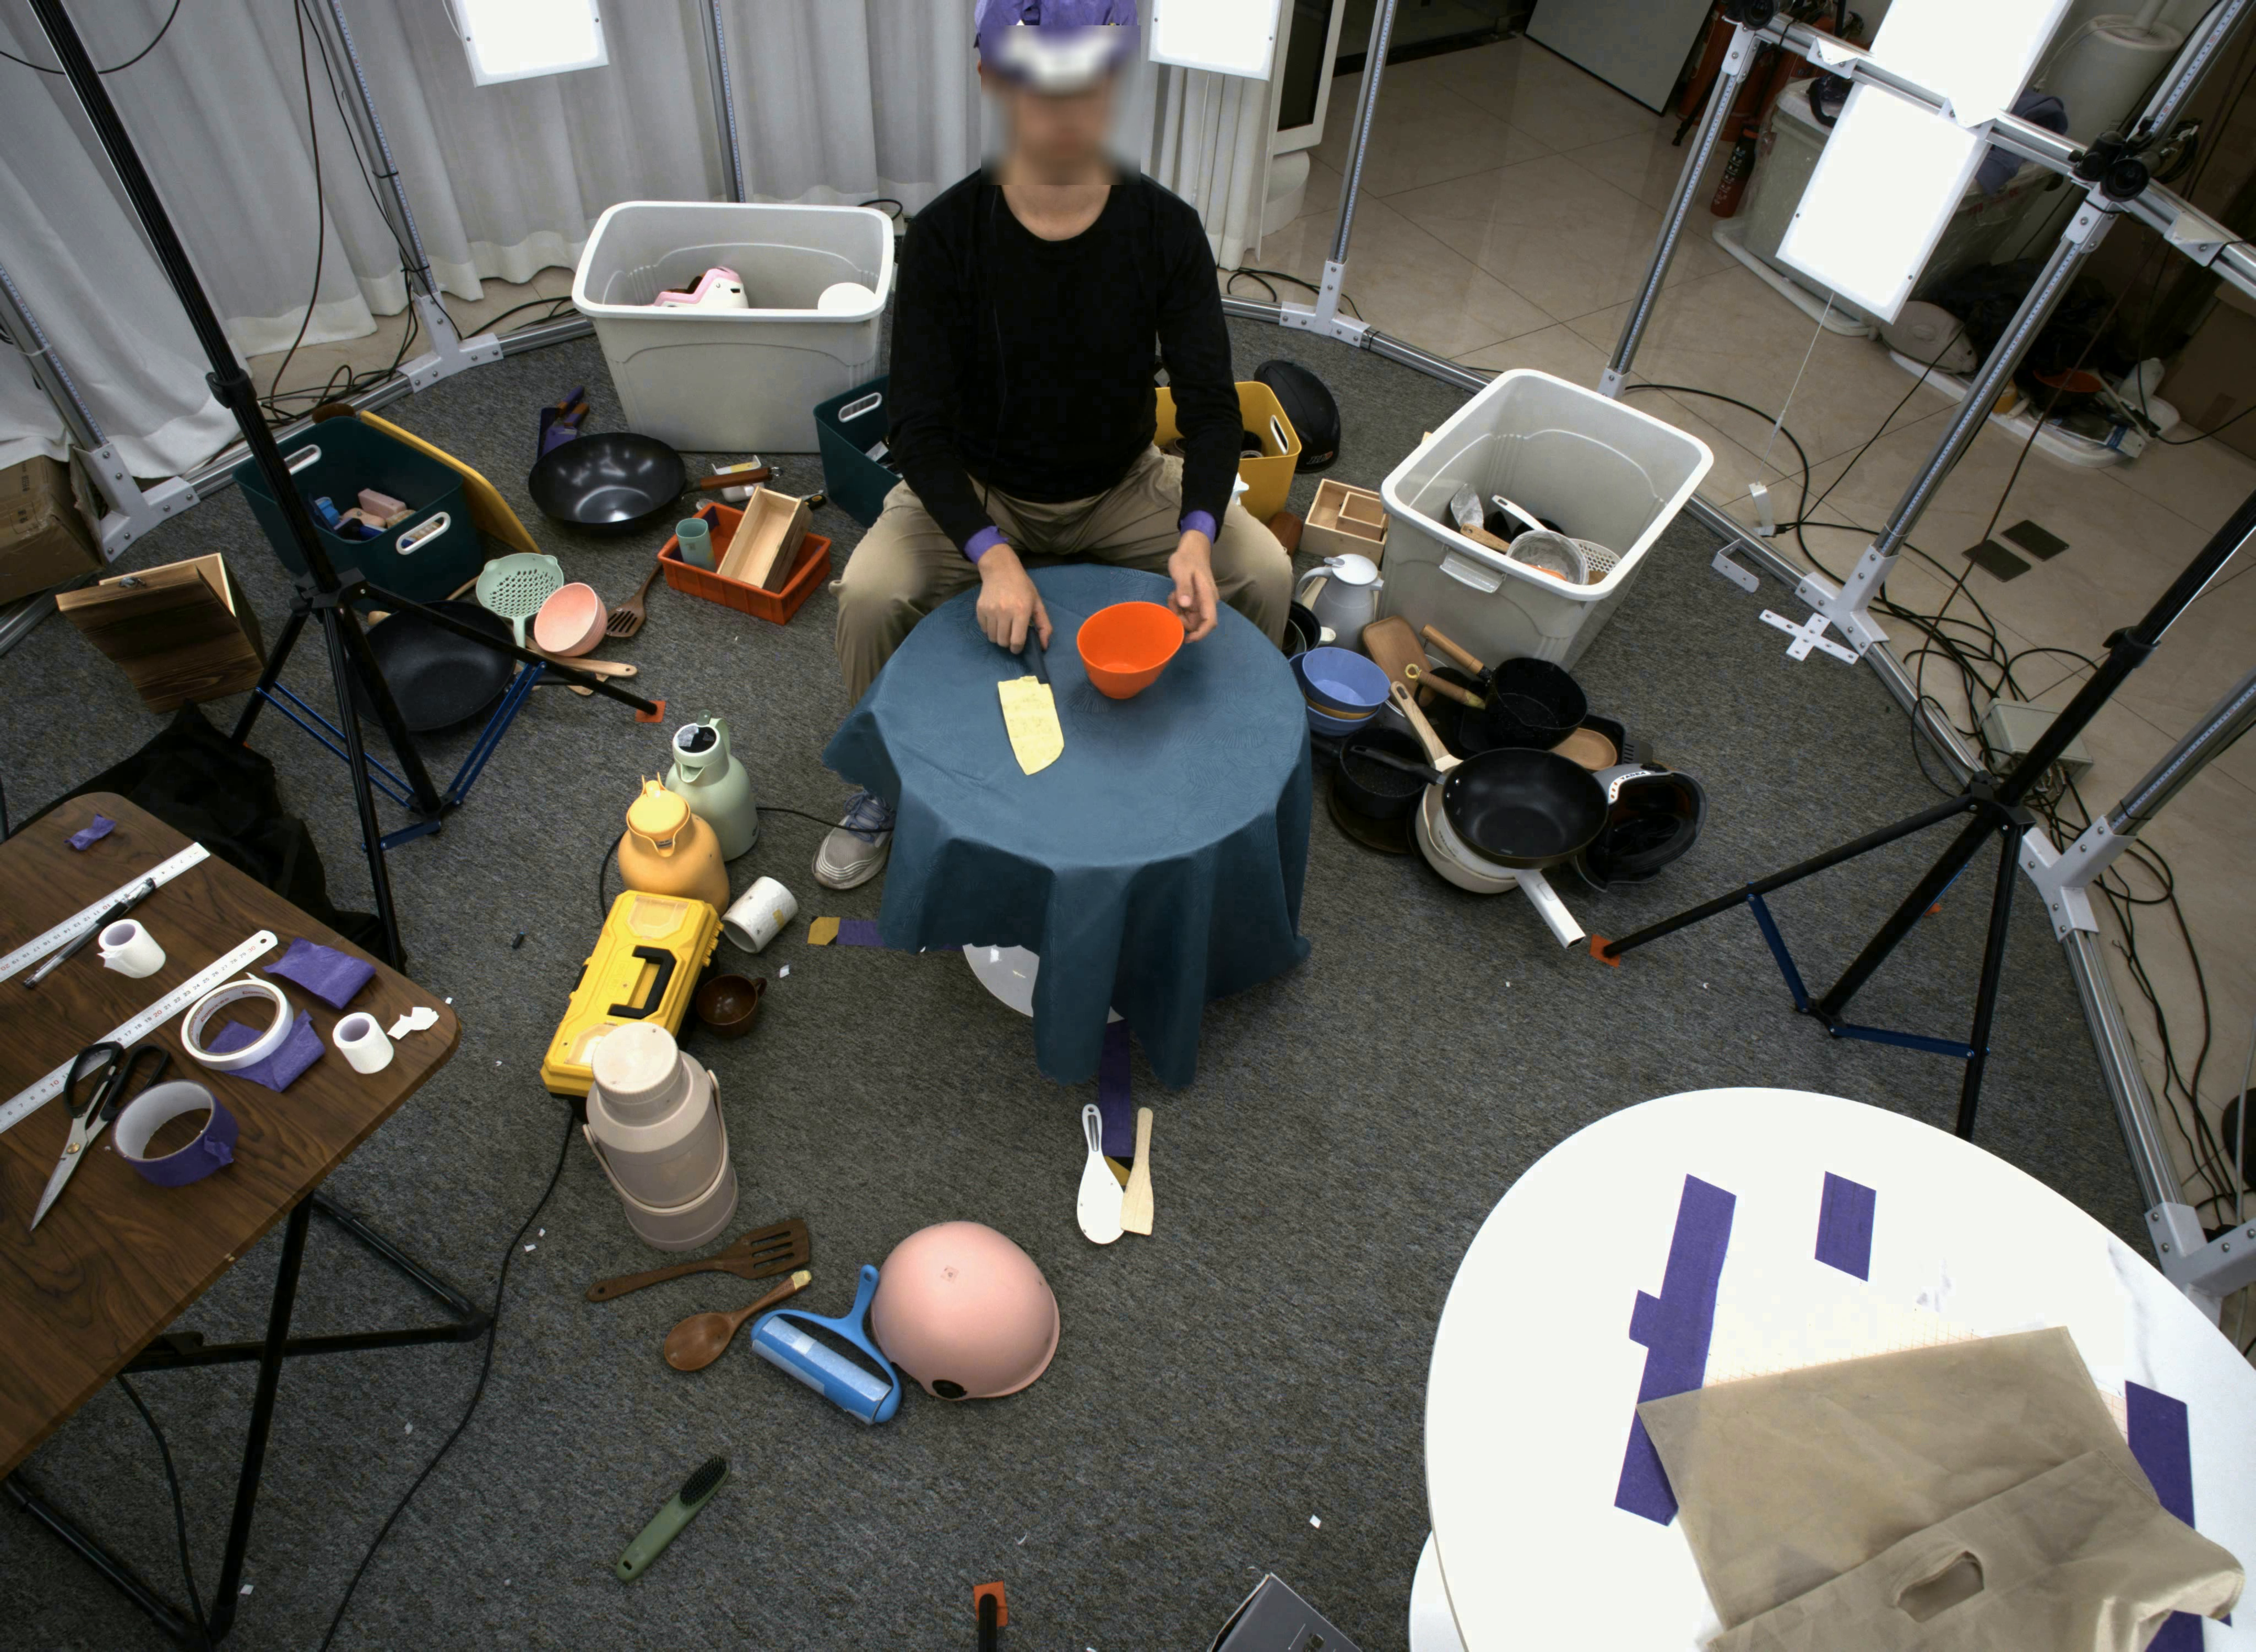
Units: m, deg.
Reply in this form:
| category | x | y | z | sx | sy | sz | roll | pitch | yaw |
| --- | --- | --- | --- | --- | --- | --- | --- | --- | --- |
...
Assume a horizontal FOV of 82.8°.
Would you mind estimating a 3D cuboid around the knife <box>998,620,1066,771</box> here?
| category | x | y | z | sx | sy | sz | roll | pitch | yaw |
| --- | --- | --- | --- | --- | --- | --- | --- | --- | --- |
| knife | -0.141 | -0.188 | 1.814 | 0.081 | 0.026 | 0.297 | -4 | 51 | -10 |

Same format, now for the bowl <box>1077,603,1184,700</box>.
| category | x | y | z | sx | sy | sz | roll | pitch | yaw |
| --- | --- | --- | --- | --- | --- | --- | --- | --- | --- |
| bowl | 0.001 | -0.235 | 1.808 | 0.148 | 0.102 | 0.152 | 1 | 50 | -2 |
